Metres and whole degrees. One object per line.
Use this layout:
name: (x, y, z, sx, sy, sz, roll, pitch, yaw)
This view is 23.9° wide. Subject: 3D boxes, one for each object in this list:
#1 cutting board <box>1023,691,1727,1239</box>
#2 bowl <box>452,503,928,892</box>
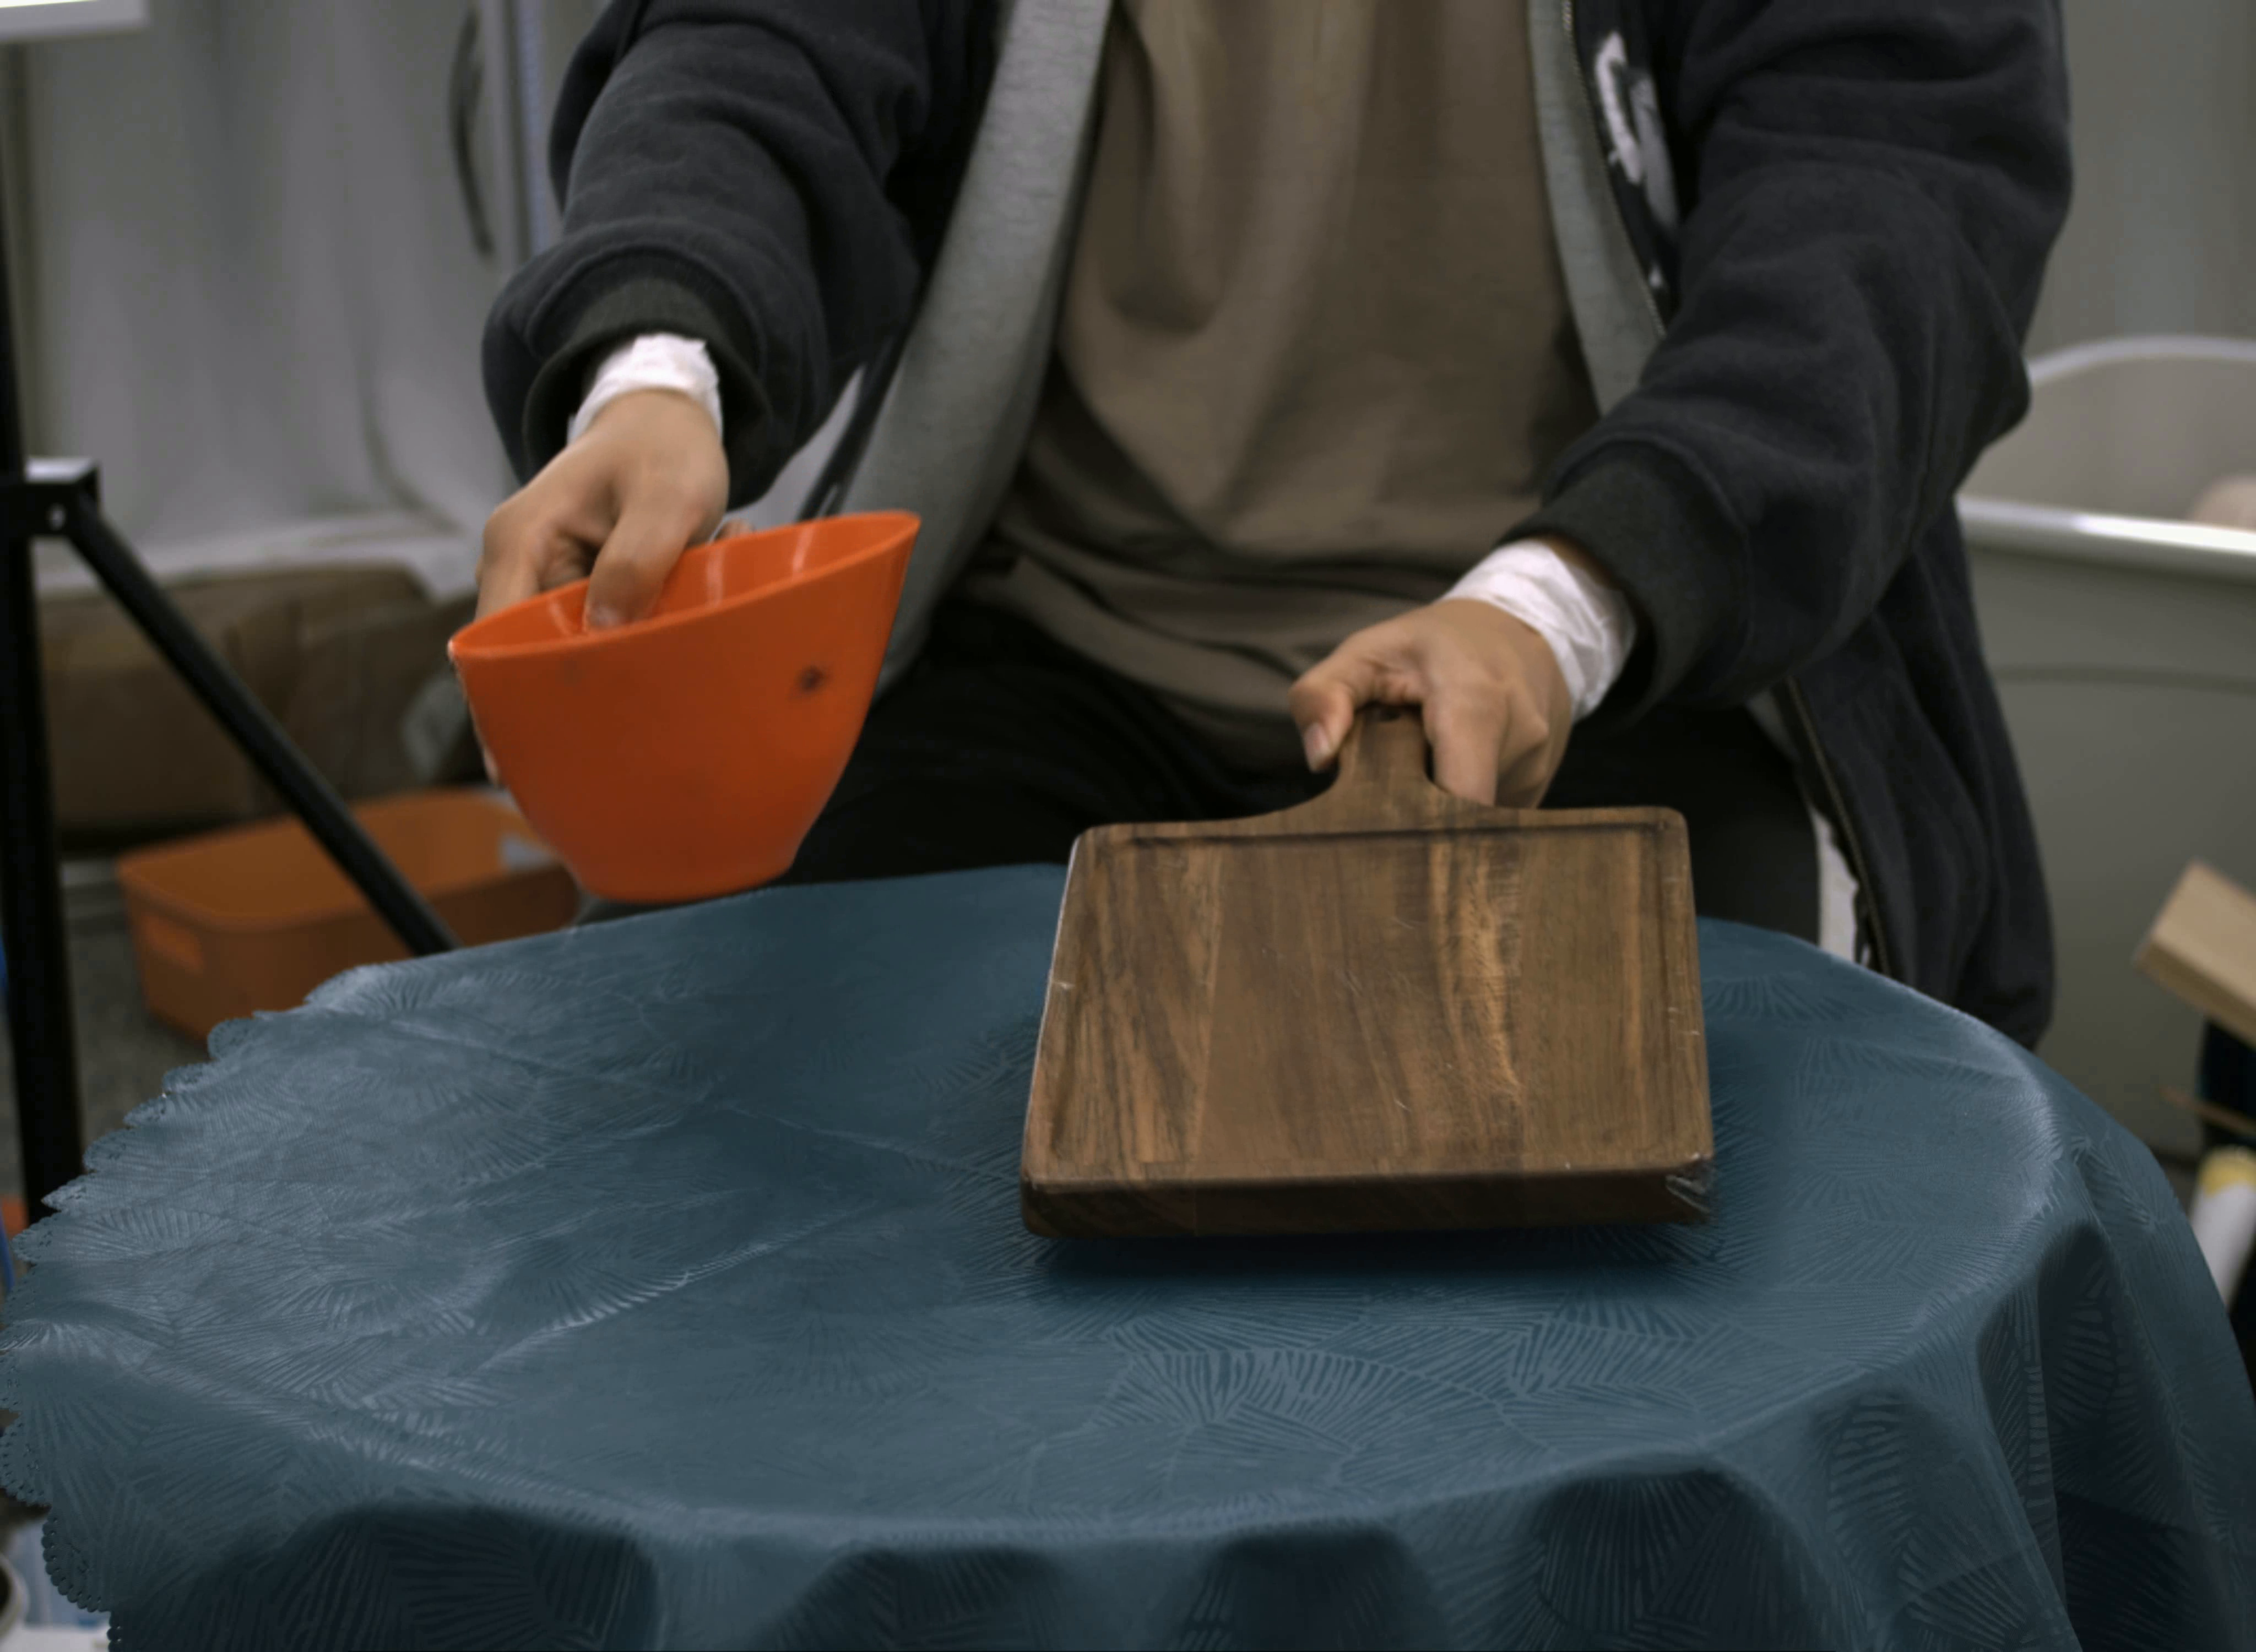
cutting board: (0.076, 0.034, 1.631, 0.201, 0.023, 0.353, -3, 23, 5)
bowl: (-0.129, -0.038, 1.625, 0.147, 0.104, 0.149, -6, 15, 0)
